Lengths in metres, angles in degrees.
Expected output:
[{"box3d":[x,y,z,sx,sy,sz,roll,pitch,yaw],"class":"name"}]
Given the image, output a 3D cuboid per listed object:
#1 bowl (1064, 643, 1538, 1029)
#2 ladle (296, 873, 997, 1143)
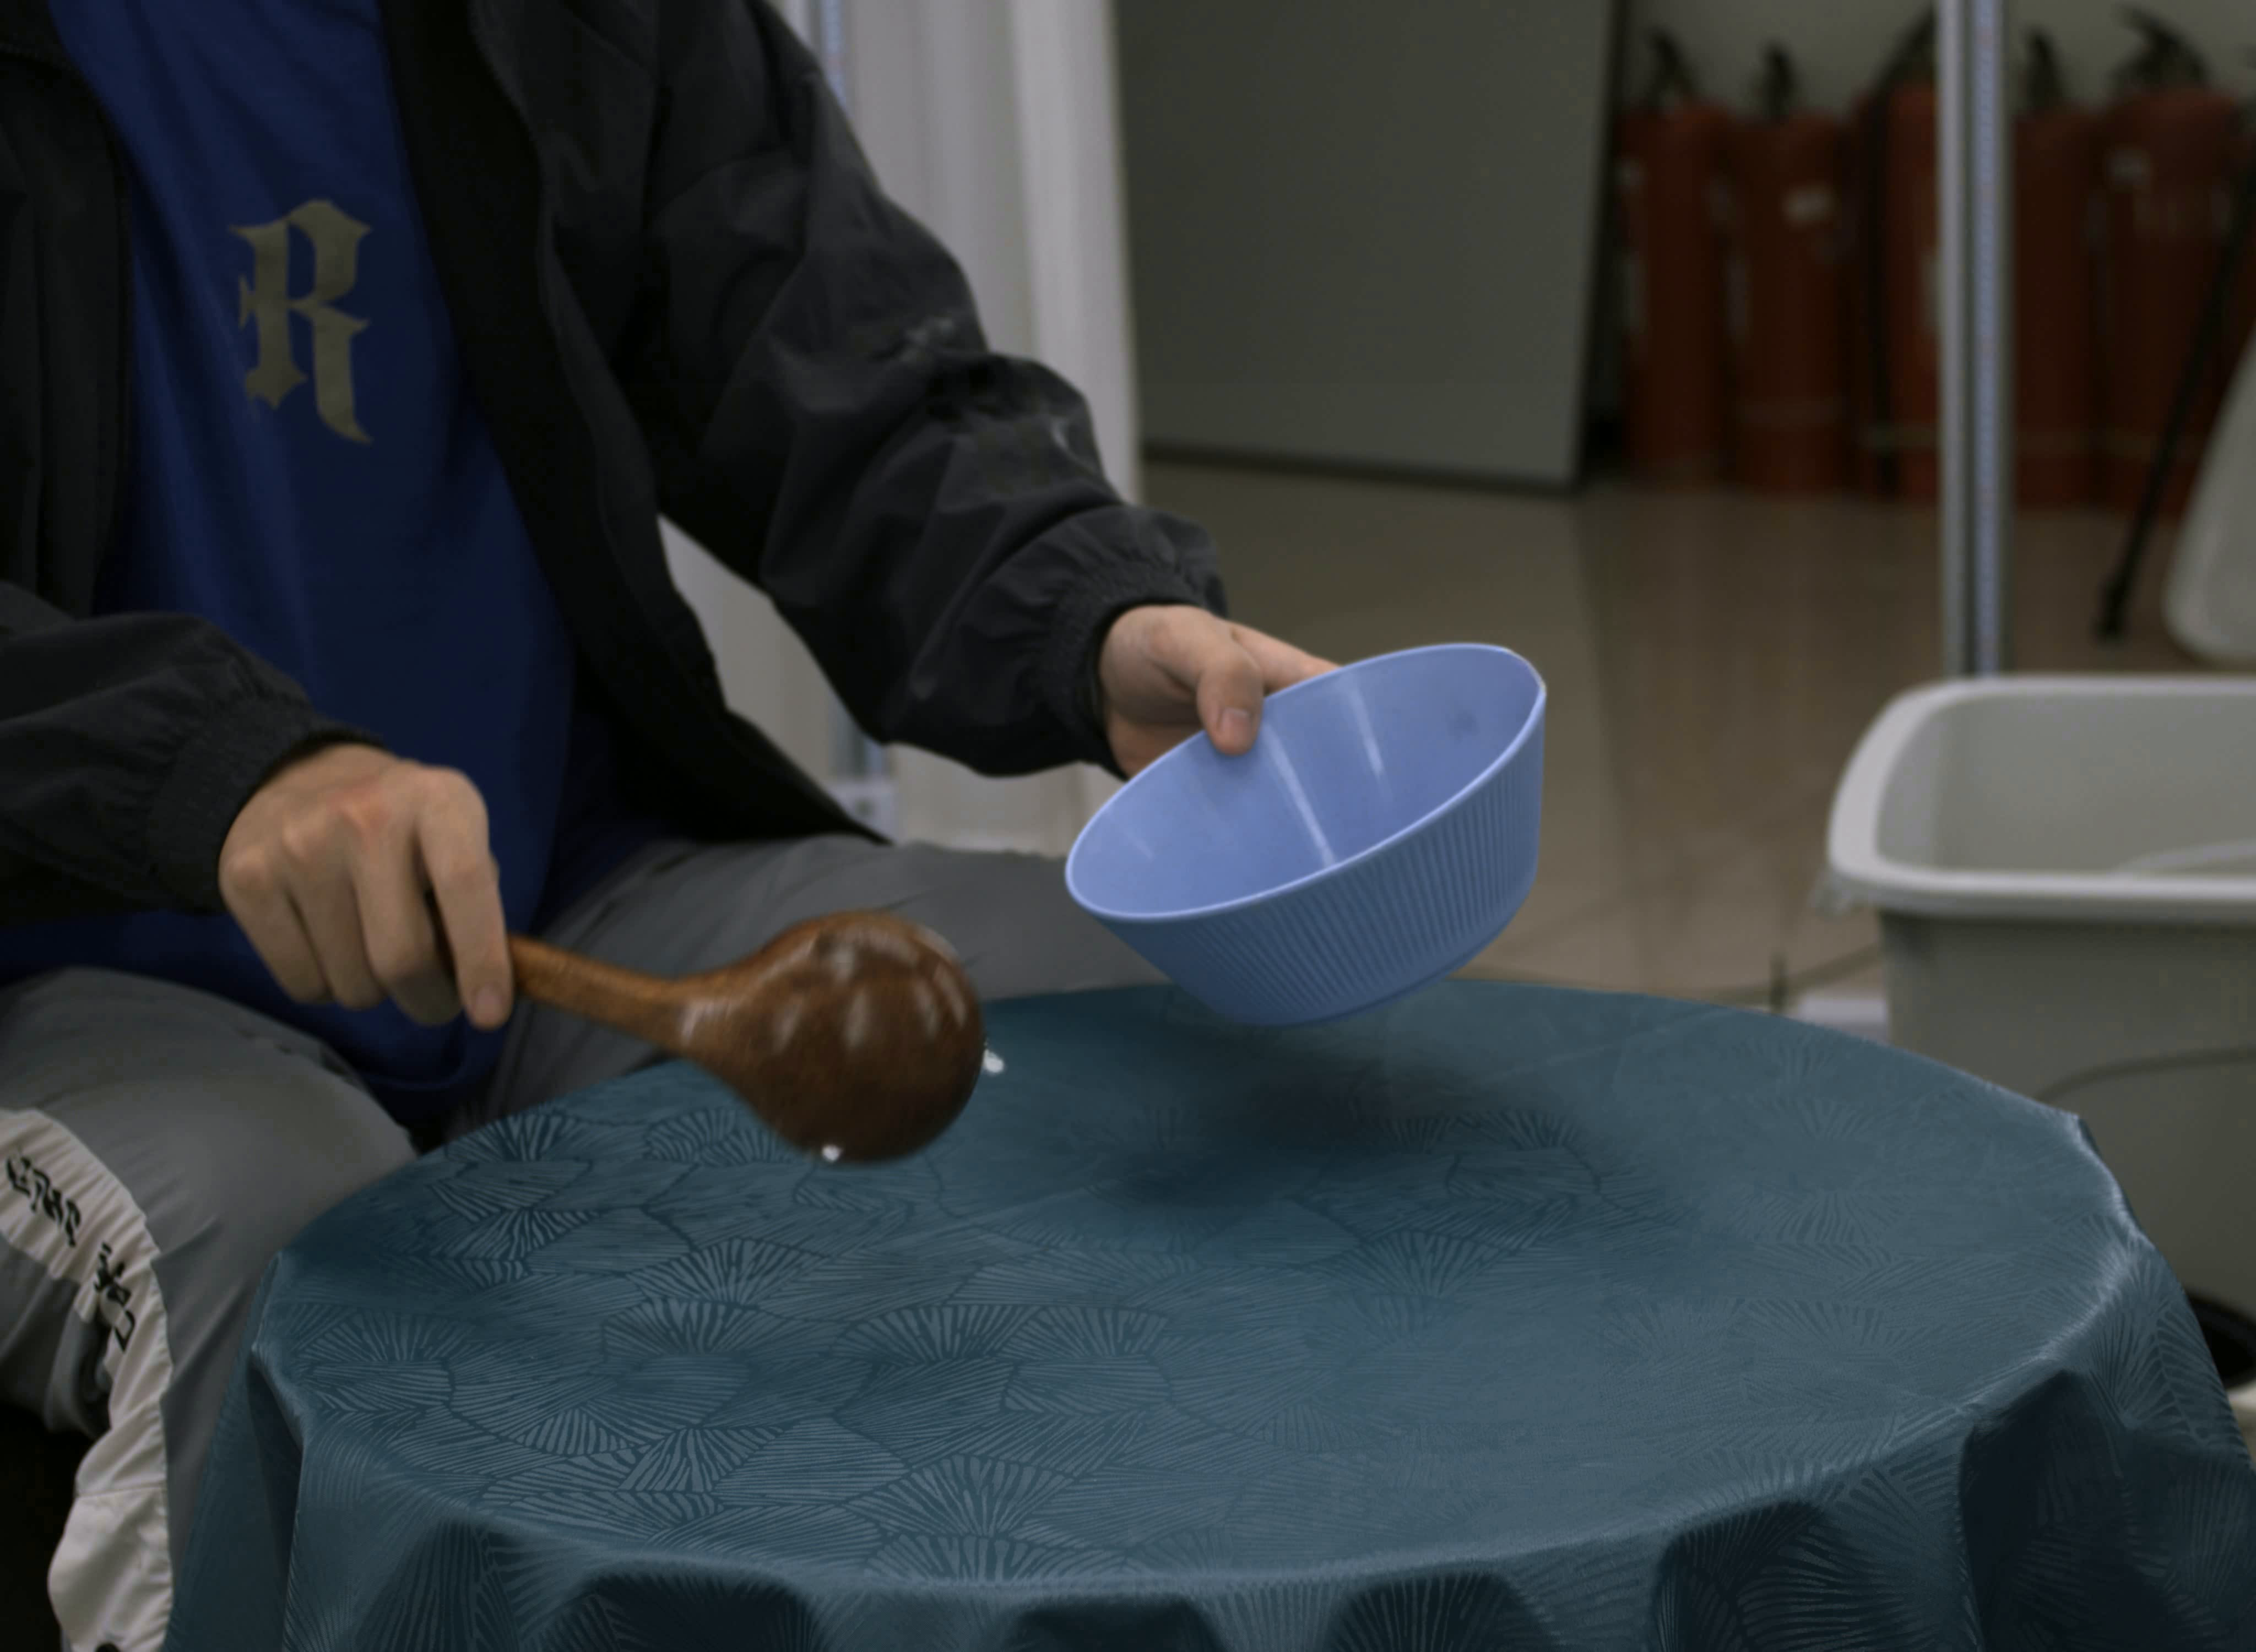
[{"box3d":[0.070,0.011,1.814,0.175,0.070,0.176,-24,18,8],"class":"bowl"},{"box3d":[-0.154,0.045,1.727,0.075,0.083,0.276,8,0,-45],"class":"ladle"}]
